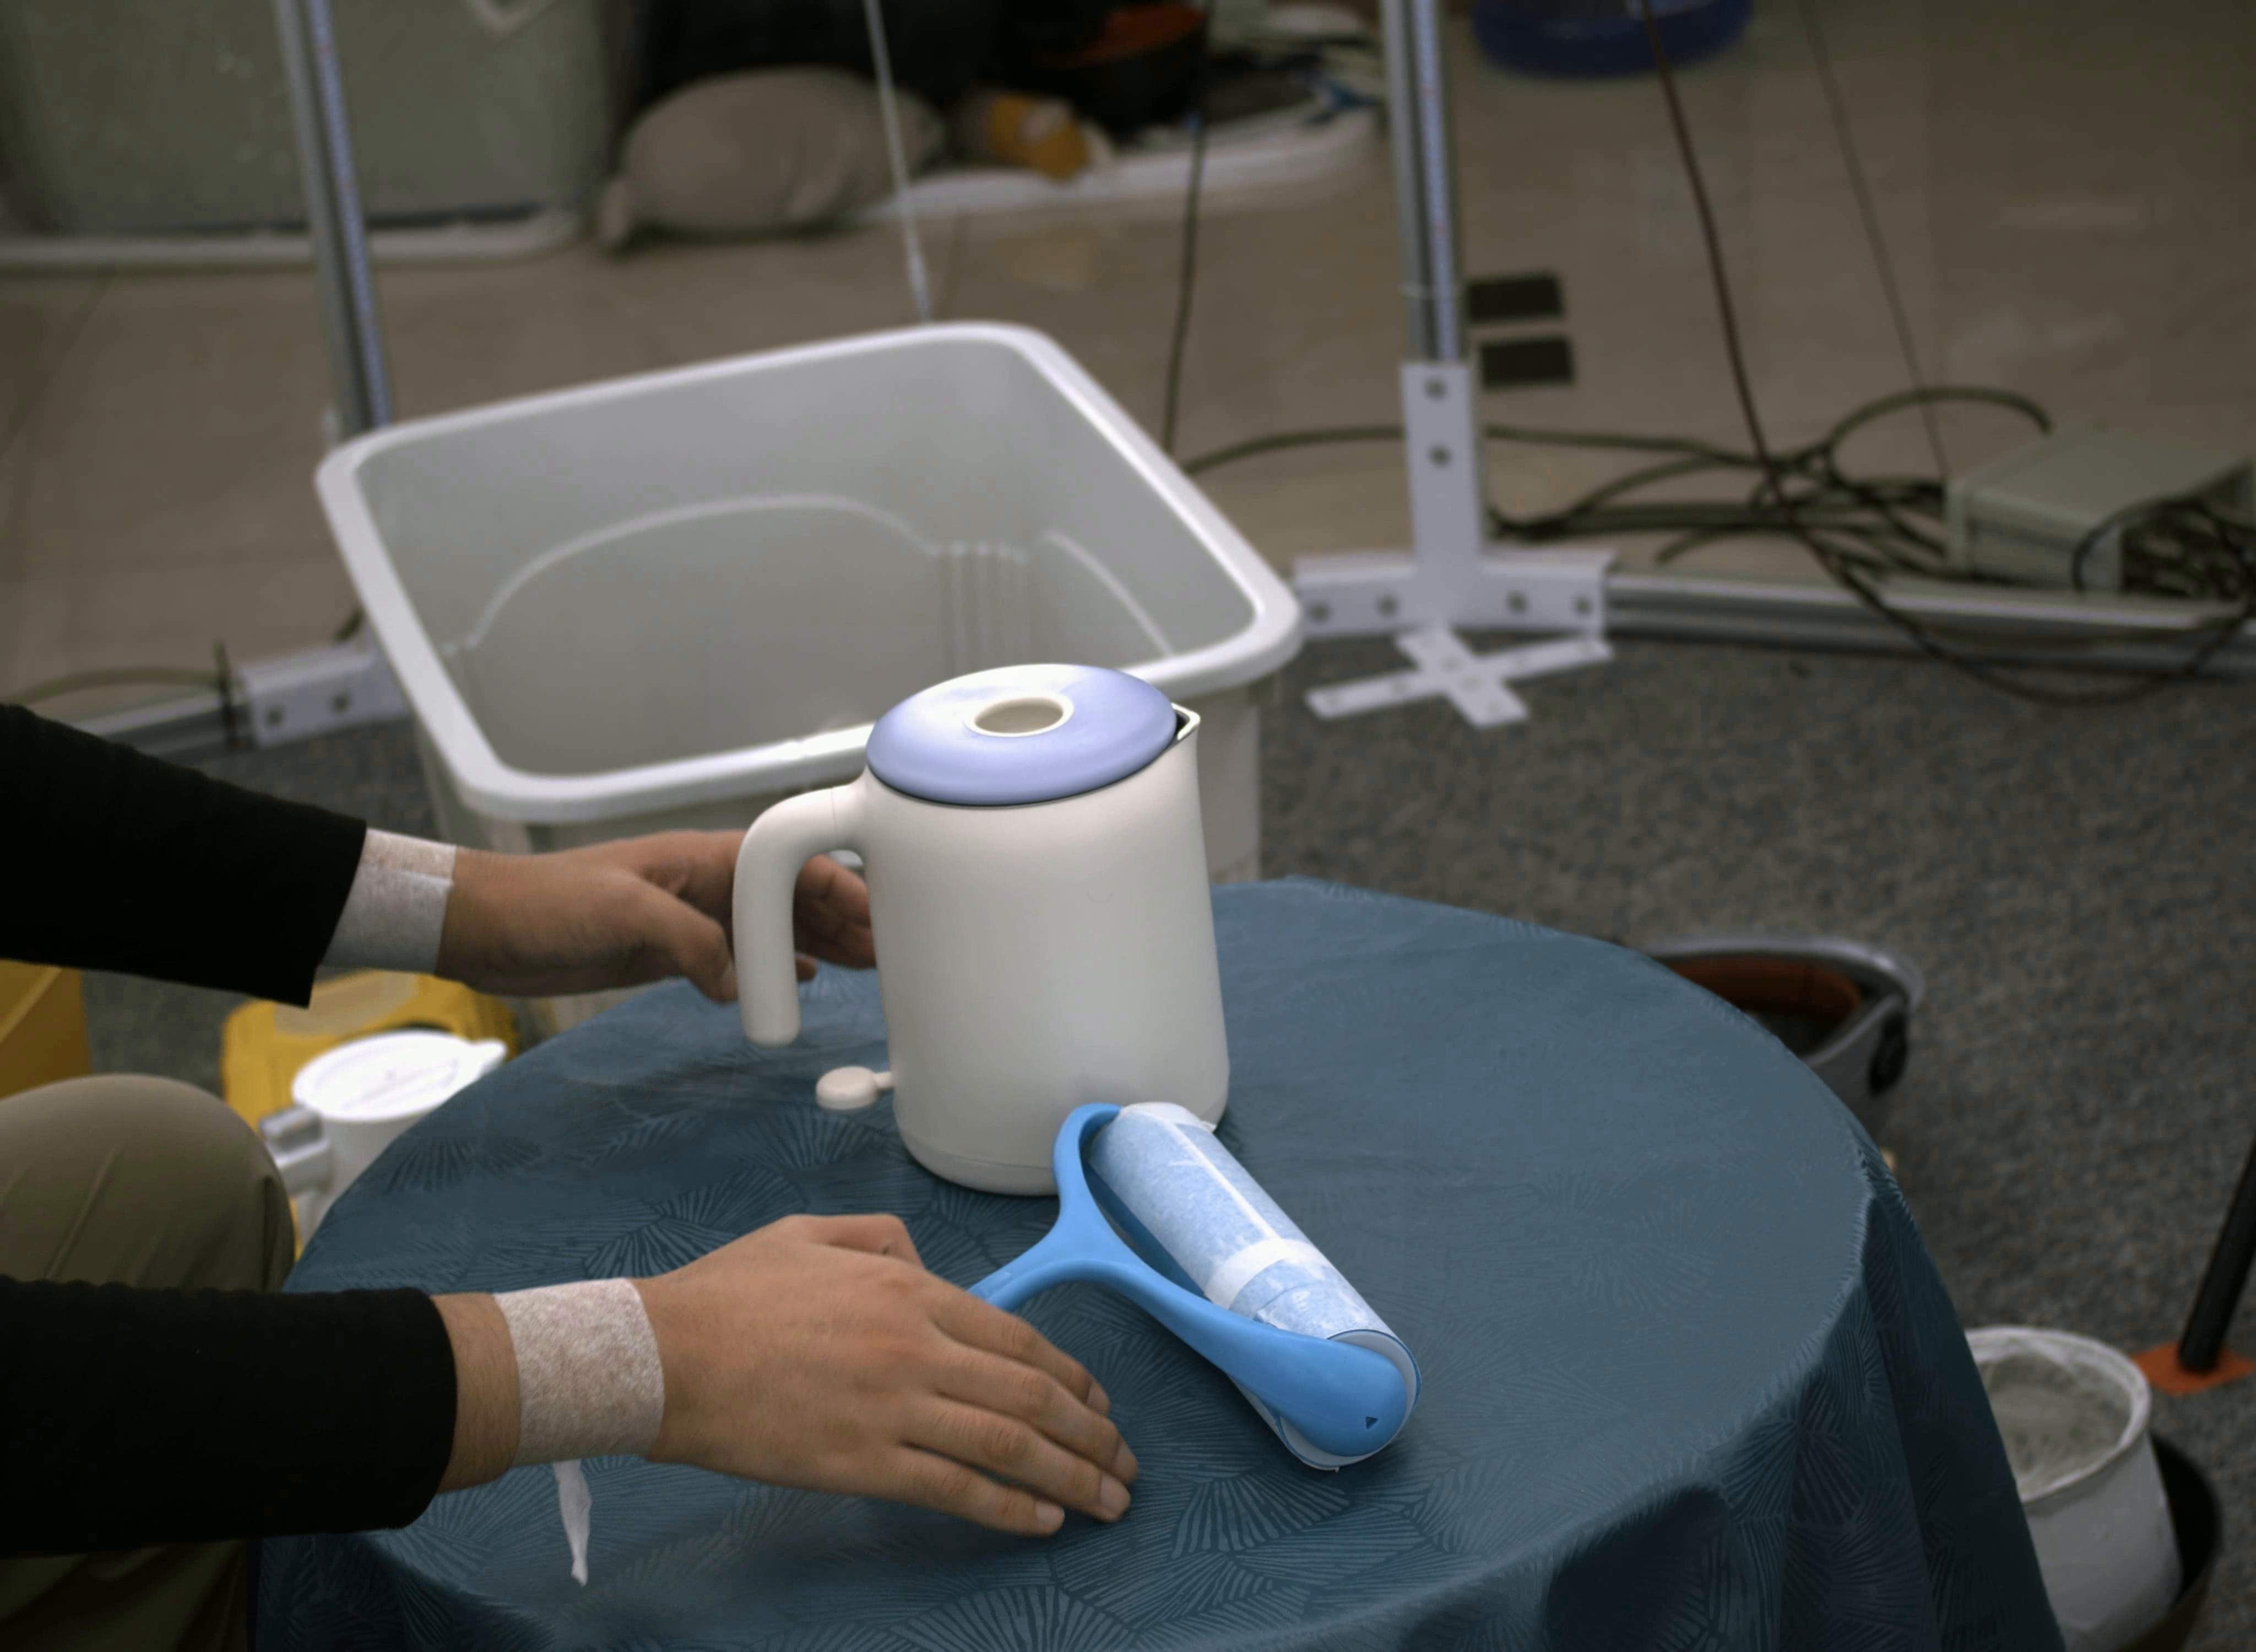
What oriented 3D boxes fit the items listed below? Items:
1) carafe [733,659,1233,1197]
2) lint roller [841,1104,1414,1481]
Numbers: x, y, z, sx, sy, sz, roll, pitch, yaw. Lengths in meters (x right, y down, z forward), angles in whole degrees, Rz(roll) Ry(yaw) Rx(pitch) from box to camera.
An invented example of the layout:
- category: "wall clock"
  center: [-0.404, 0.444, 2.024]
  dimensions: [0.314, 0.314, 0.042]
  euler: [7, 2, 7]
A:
- category: "carafe"
  center: [-0.056, 0.042, 2.163]
  dimensions: [0.191, 0.185, 0.130]
  euler: [-10, 25, -3]
- category: "lint roller"
  center: [-0.015, 0.173, 2.007]
  dimensions: [0.180, 0.069, 0.226]
  euler: [-10, 27, -21]
